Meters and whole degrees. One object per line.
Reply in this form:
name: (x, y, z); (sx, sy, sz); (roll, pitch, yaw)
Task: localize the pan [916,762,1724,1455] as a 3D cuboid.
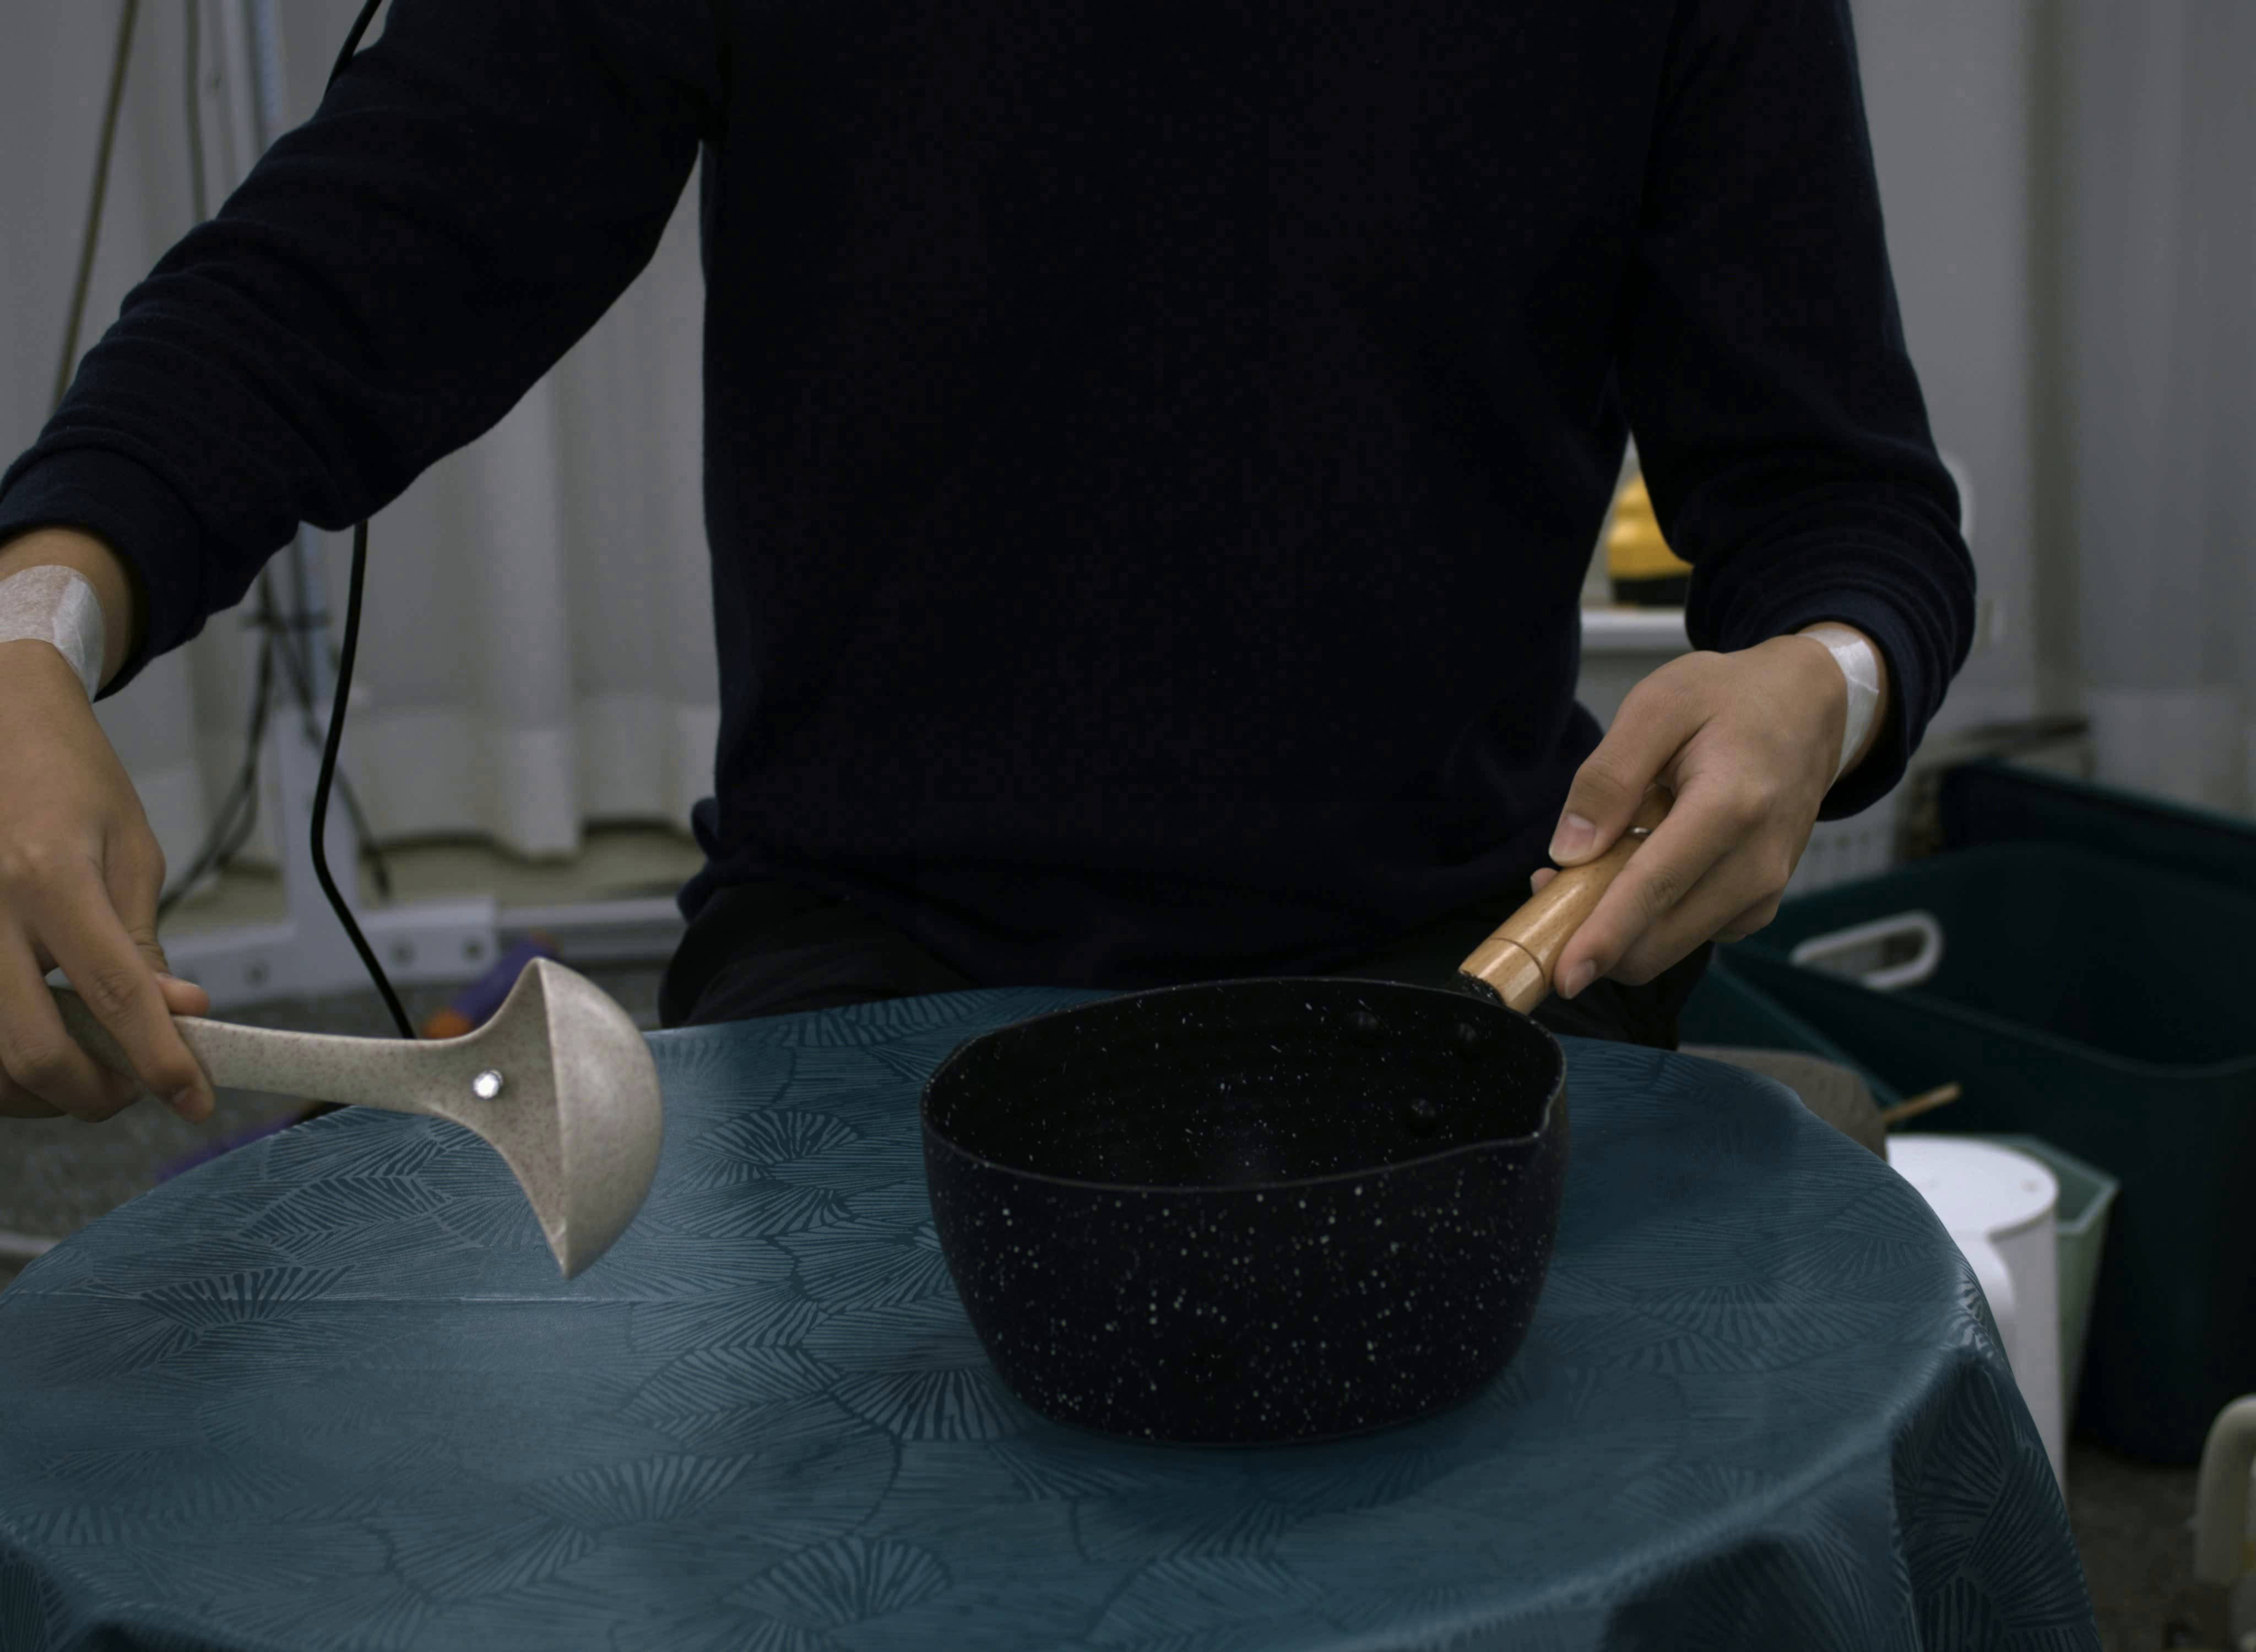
pan: (0.080, 0.078, 1.613); (0.208, 0.108, 0.343); (6, 20, 36)

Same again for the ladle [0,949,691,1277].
ladle: (-0.247, 0.067, 1.531); (0.275, 0.089, 0.069); (7, 10, 23)
